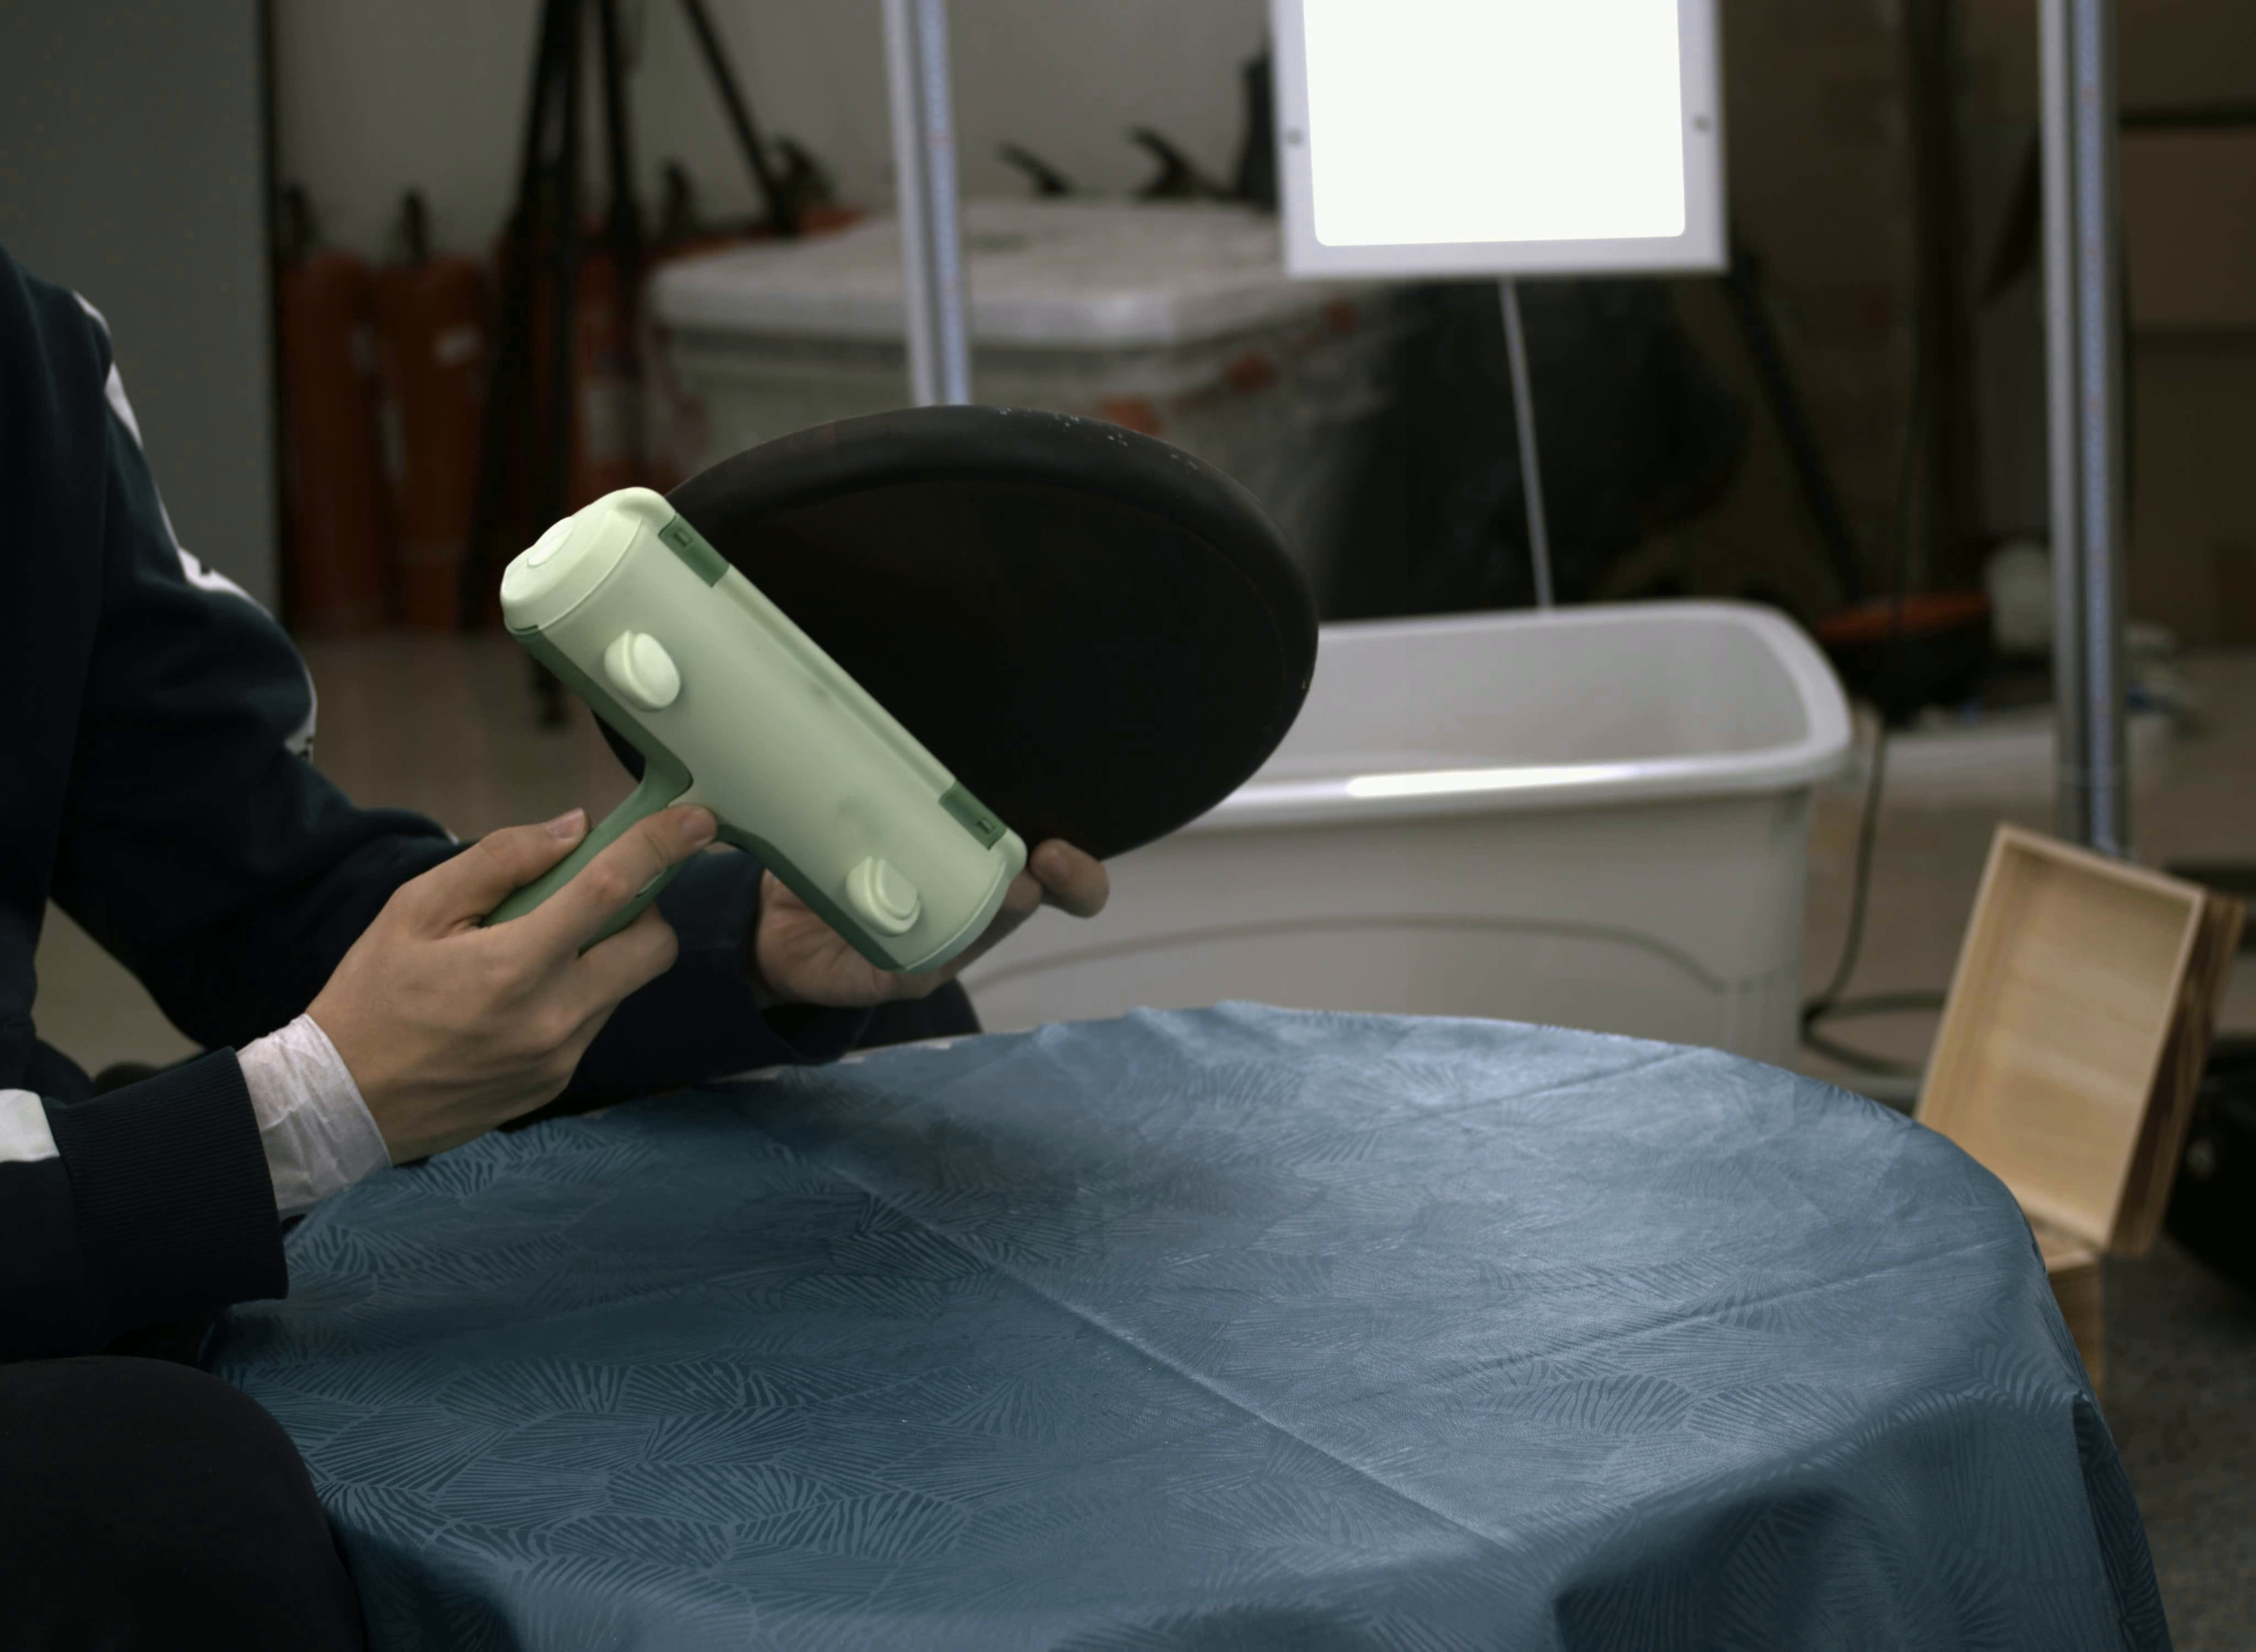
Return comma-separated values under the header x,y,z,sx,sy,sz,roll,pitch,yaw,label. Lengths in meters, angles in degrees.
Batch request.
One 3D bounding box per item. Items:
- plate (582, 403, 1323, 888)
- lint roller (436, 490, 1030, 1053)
x,y,z,sx,sy,sz,roll,pitch,yaw,label
-0.059,-0.054,1.862,0.254,0.255,0.029,-3,55,2,plate
-0.156,0.015,1.806,0.184,0.196,0.083,-47,24,3,lint roller
